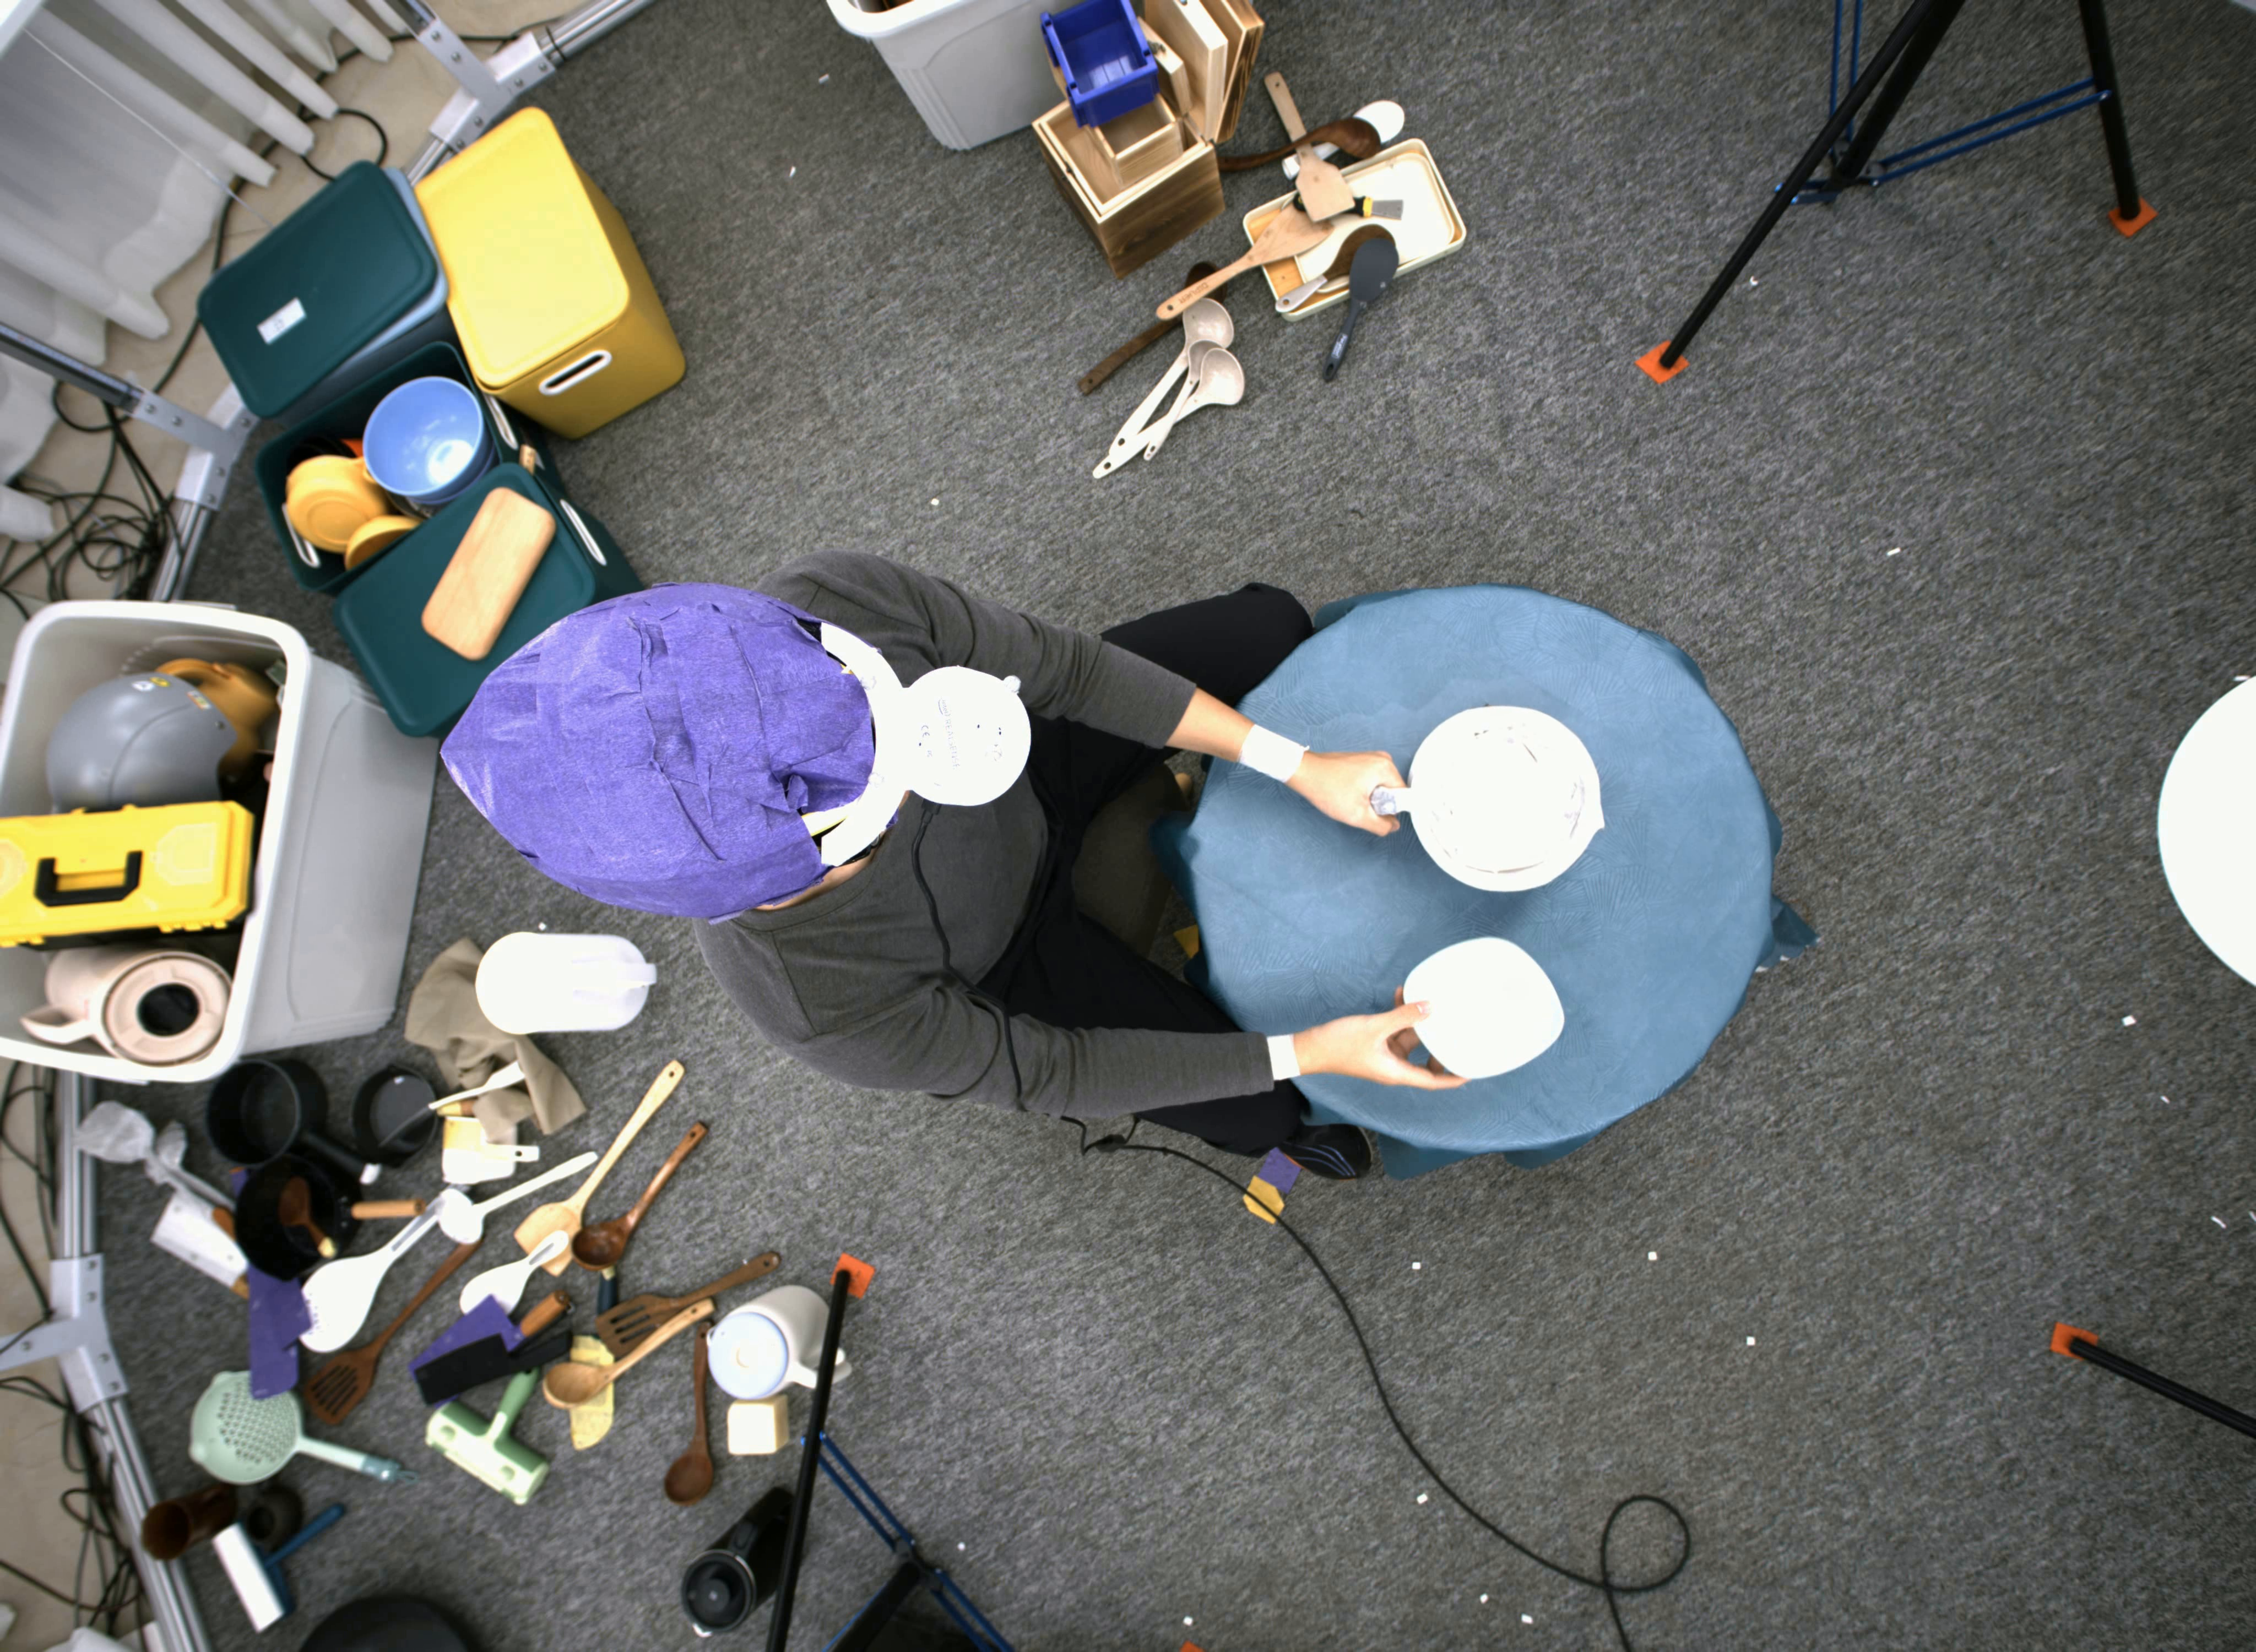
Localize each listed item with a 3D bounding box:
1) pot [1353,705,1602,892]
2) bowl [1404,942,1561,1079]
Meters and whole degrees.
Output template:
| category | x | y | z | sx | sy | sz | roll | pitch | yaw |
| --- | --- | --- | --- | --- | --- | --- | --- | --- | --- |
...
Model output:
| category | x | y | z | sx | sy | sz | roll | pitch | yaw |
| --- | --- | --- | --- | --- | --- | --- | --- | --- | --- |
| pot | 0.342 | -0.032 | 1.373 | 0.235 | 0.135 | 0.179 | -3 | 97 | 10 |
| bowl | 0.341 | 0.187 | 1.344 | 0.152 | 0.060 | 0.147 | -2 | 53 | 2 |
